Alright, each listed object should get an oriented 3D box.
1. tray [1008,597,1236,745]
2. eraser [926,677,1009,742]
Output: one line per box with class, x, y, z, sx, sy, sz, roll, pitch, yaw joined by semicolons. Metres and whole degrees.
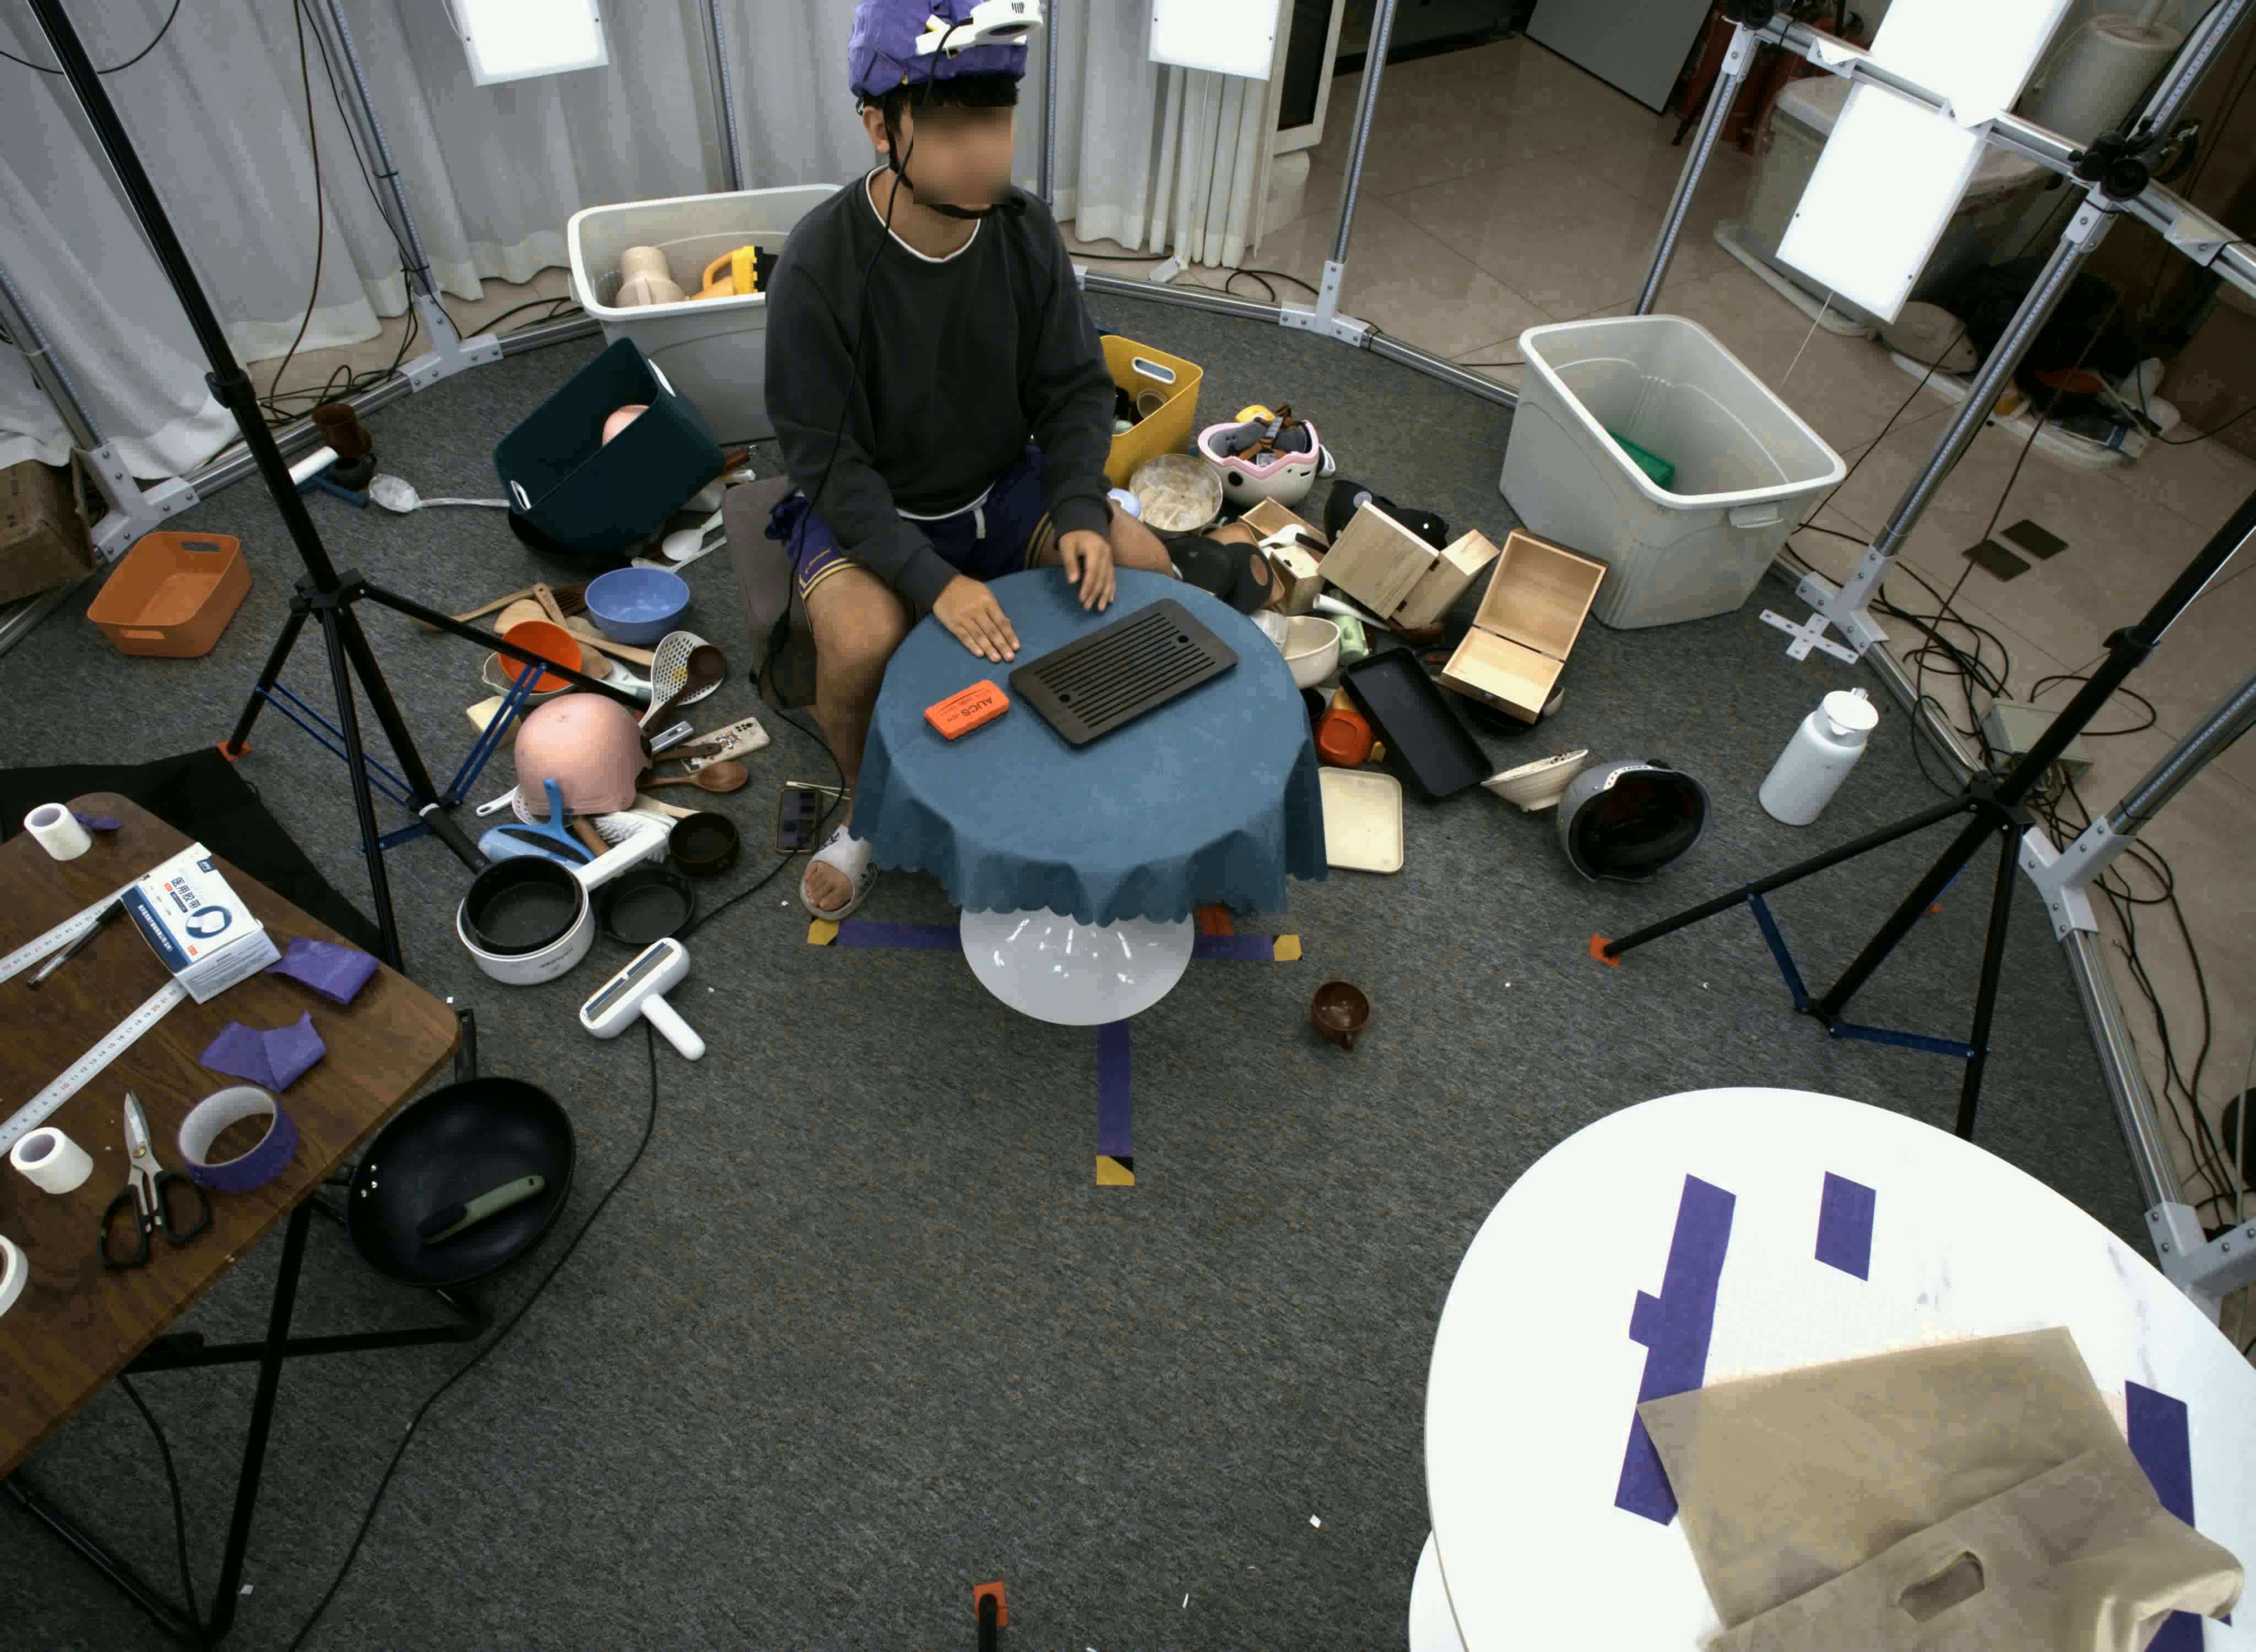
tray;-0.007;-0.226;1.851;0.308;0.018;0.173;-29;57;-26
eraser;-0.220;-0.161;1.772;0.109;0.022;0.060;-32;58;-26
